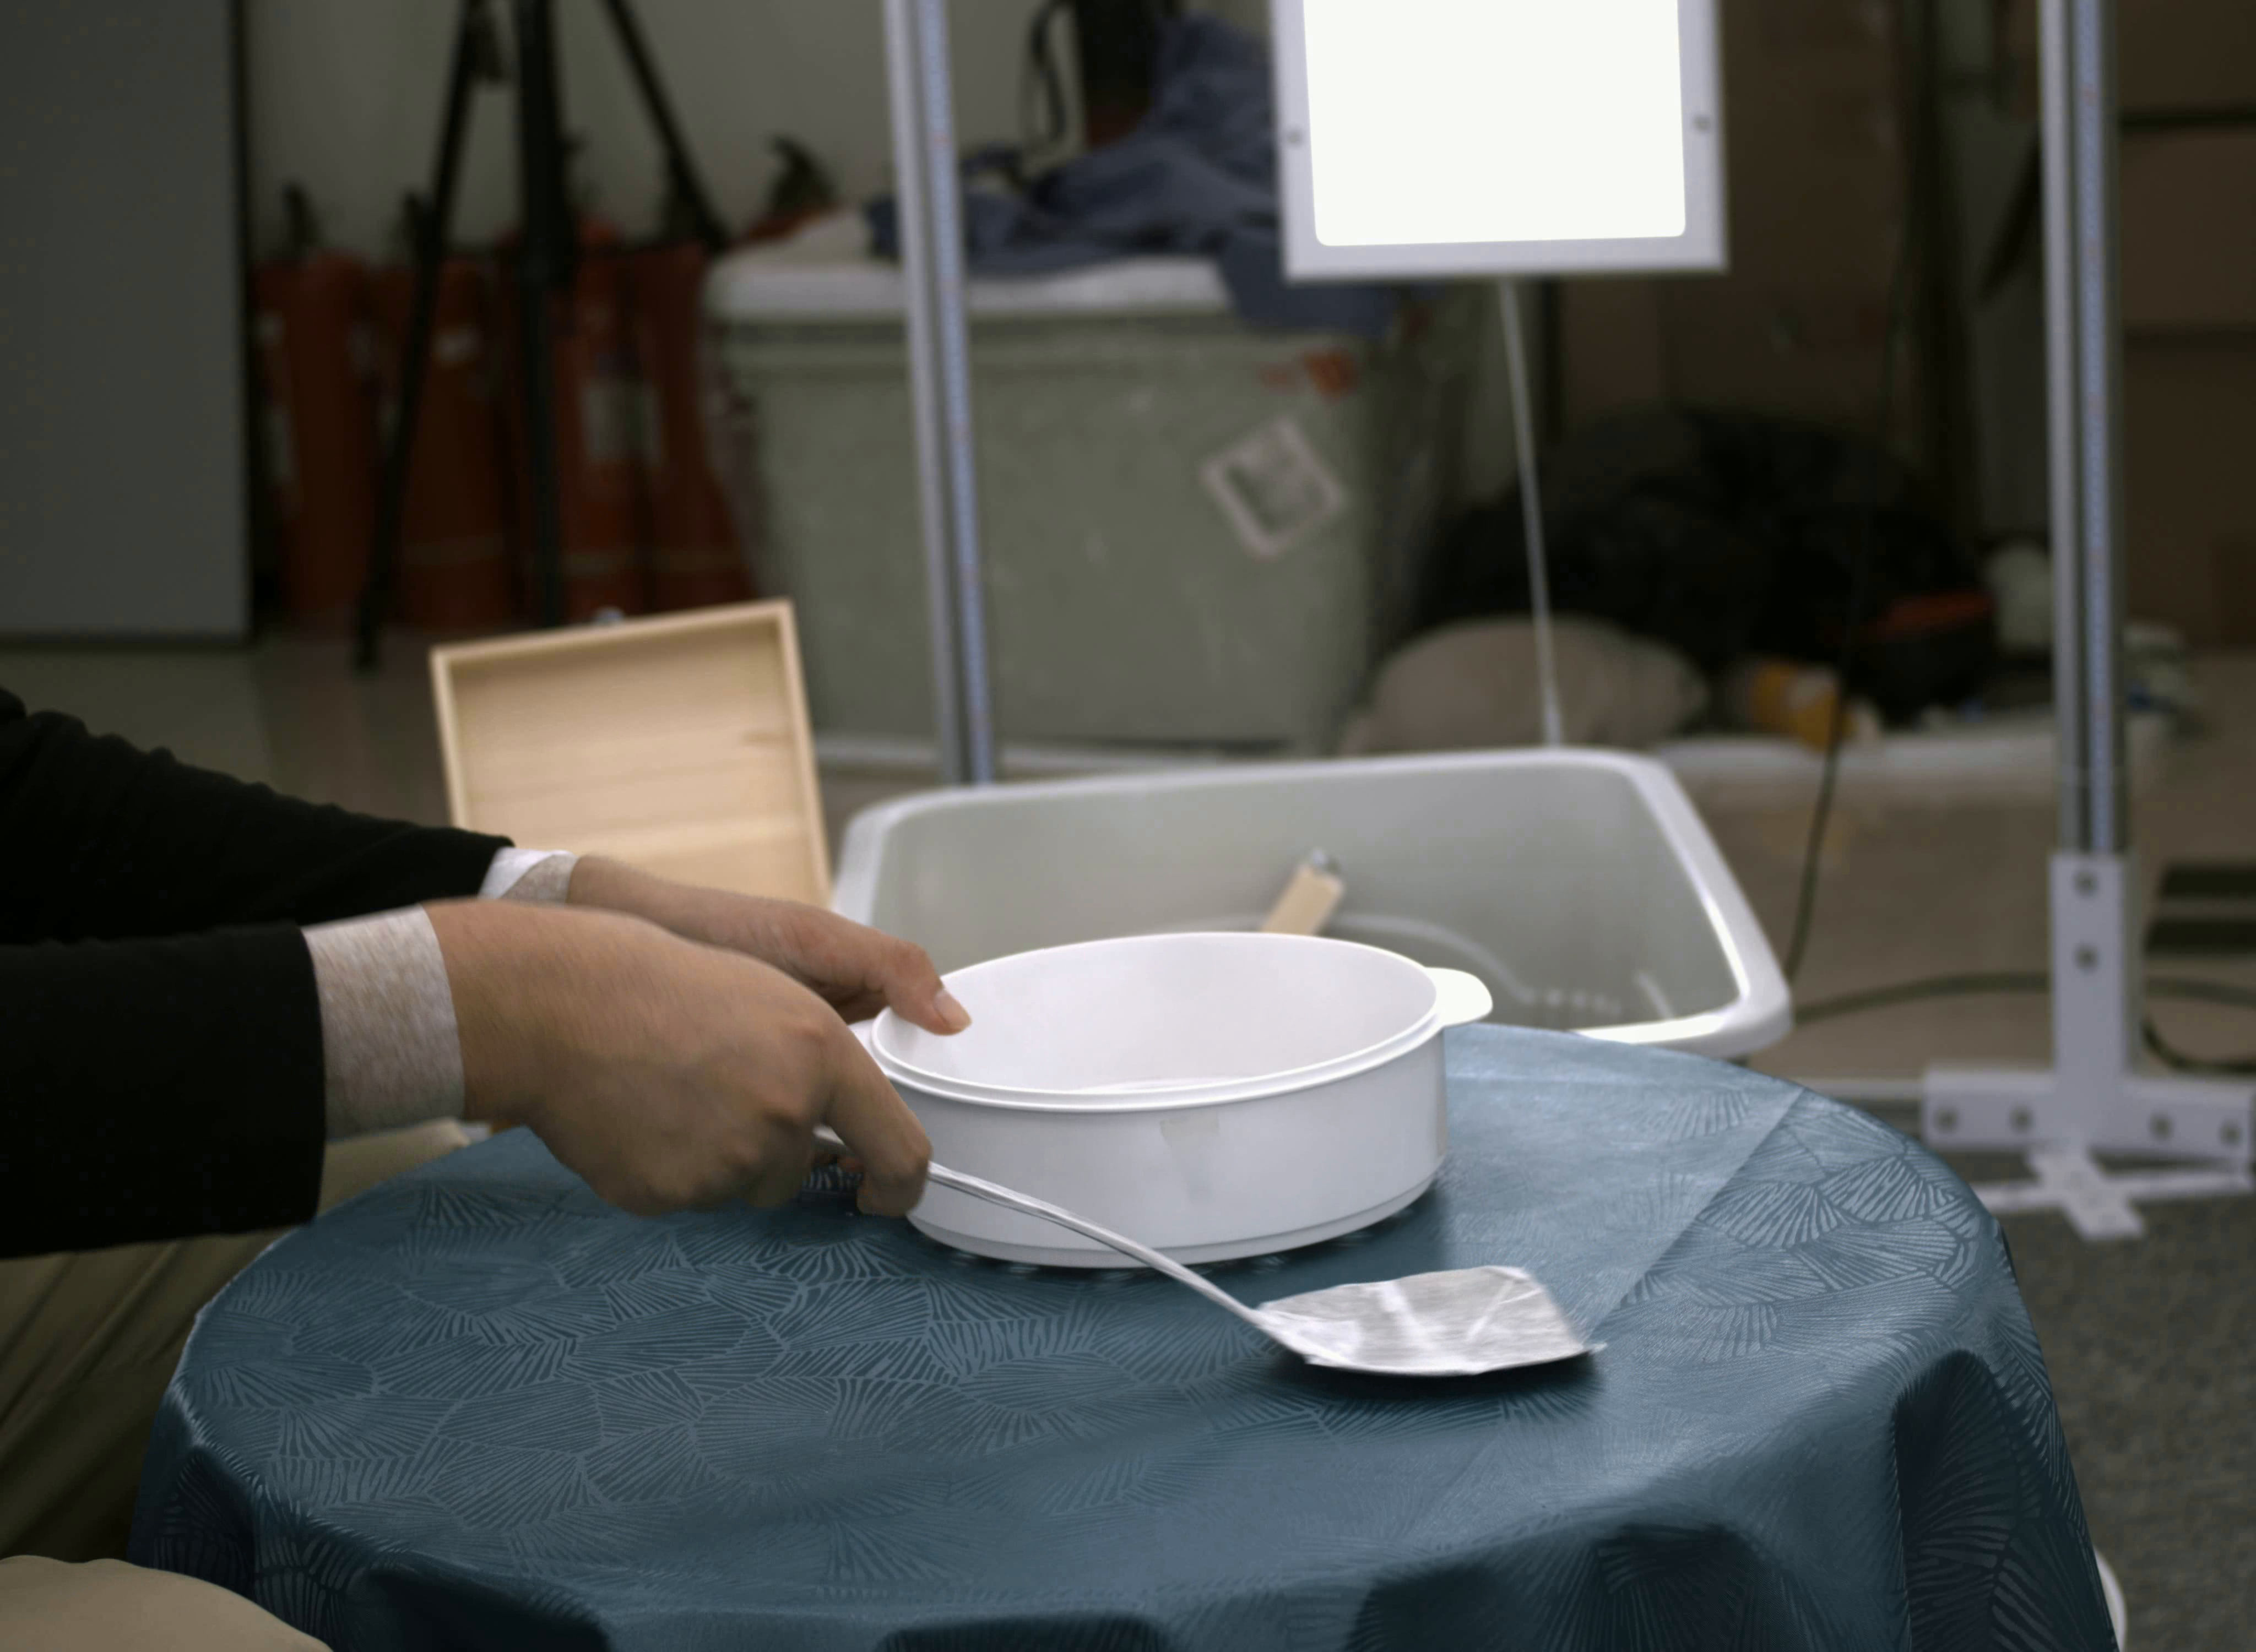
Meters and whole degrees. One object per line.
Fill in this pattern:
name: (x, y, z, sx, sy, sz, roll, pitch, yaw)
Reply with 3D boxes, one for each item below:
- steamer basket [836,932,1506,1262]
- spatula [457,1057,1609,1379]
steamer basket: (0.017, 0.093, 1.883, 0.230, 0.069, 0.202, -6, 13, -1)
spatula: (-0.026, 0.113, 1.681, 0.360, 0.045, 0.099, 19, 9, -13)
